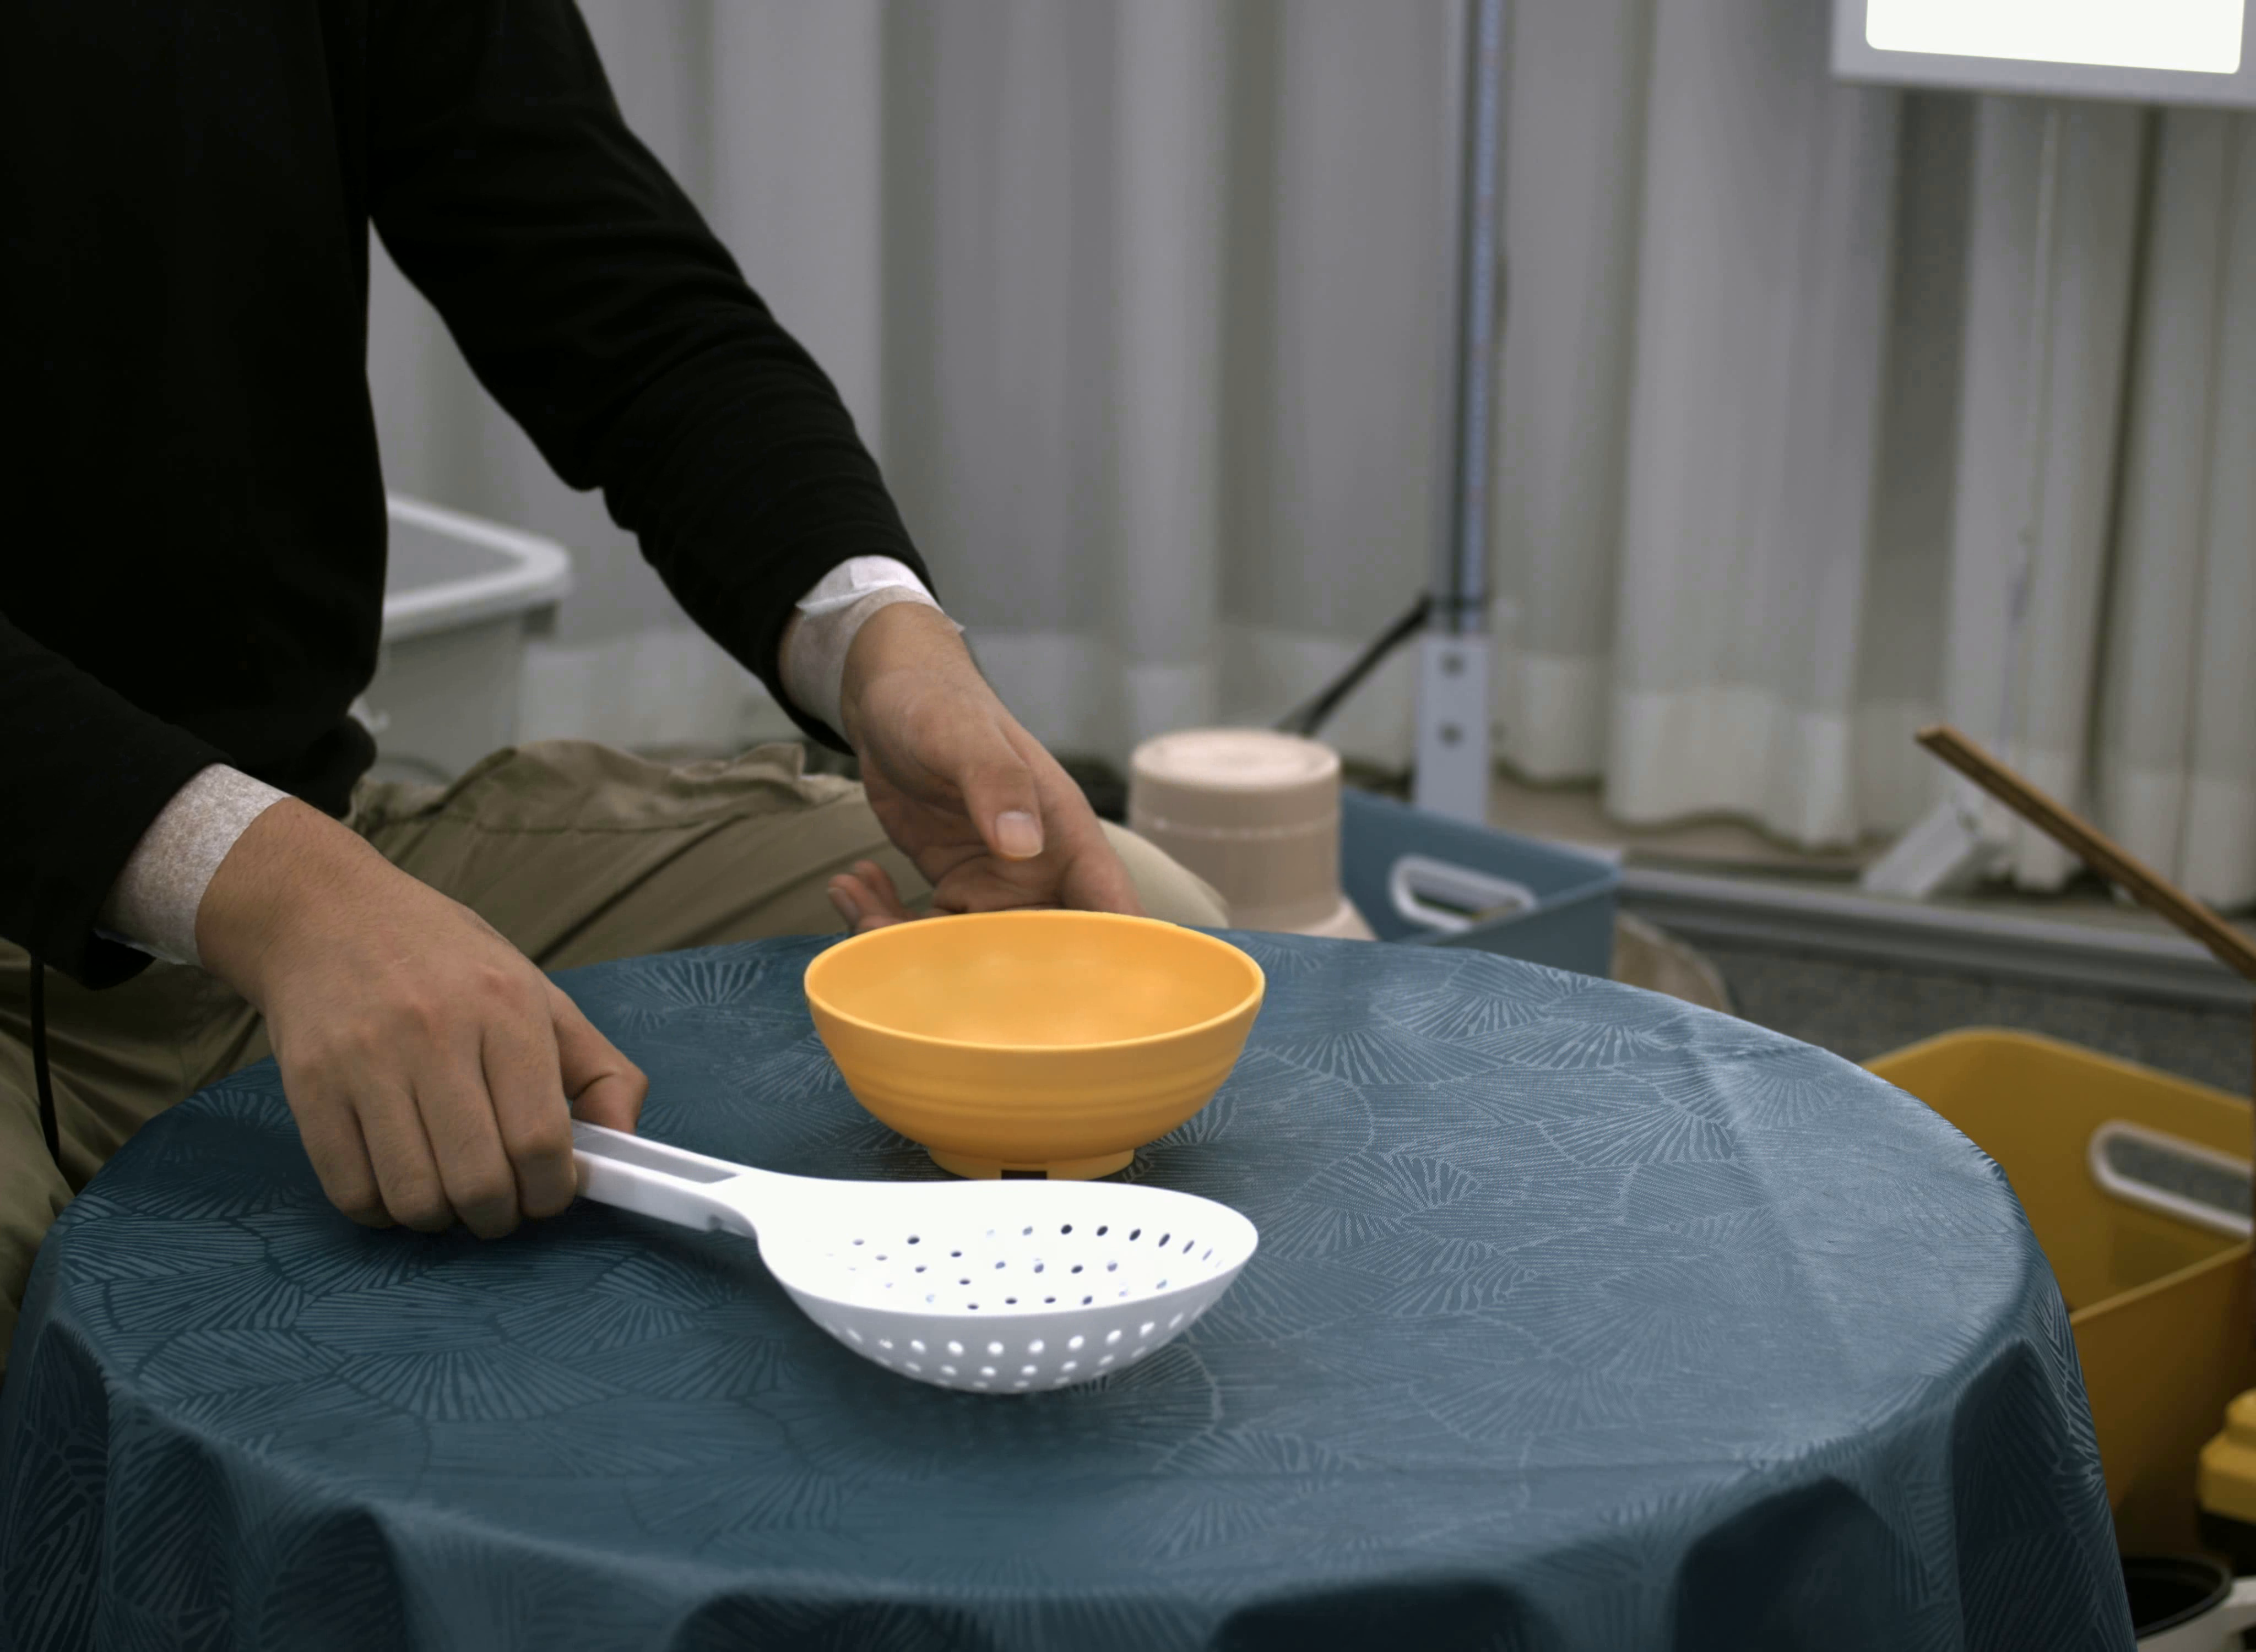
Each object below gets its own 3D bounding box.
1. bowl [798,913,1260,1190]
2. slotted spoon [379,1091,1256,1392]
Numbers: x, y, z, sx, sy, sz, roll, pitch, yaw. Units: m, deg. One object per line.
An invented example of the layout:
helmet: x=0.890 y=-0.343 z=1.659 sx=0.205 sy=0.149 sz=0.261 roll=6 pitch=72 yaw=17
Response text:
bowl: x=-0.032 y=0.076 z=1.648 sx=0.145 sy=0.060 sz=0.144 roll=3 pitch=15 yaw=0
slotted spoon: x=-0.107 y=0.111 z=1.533 sx=0.137 sy=0.046 sz=0.345 roll=-13 pitch=20 yaw=-43
